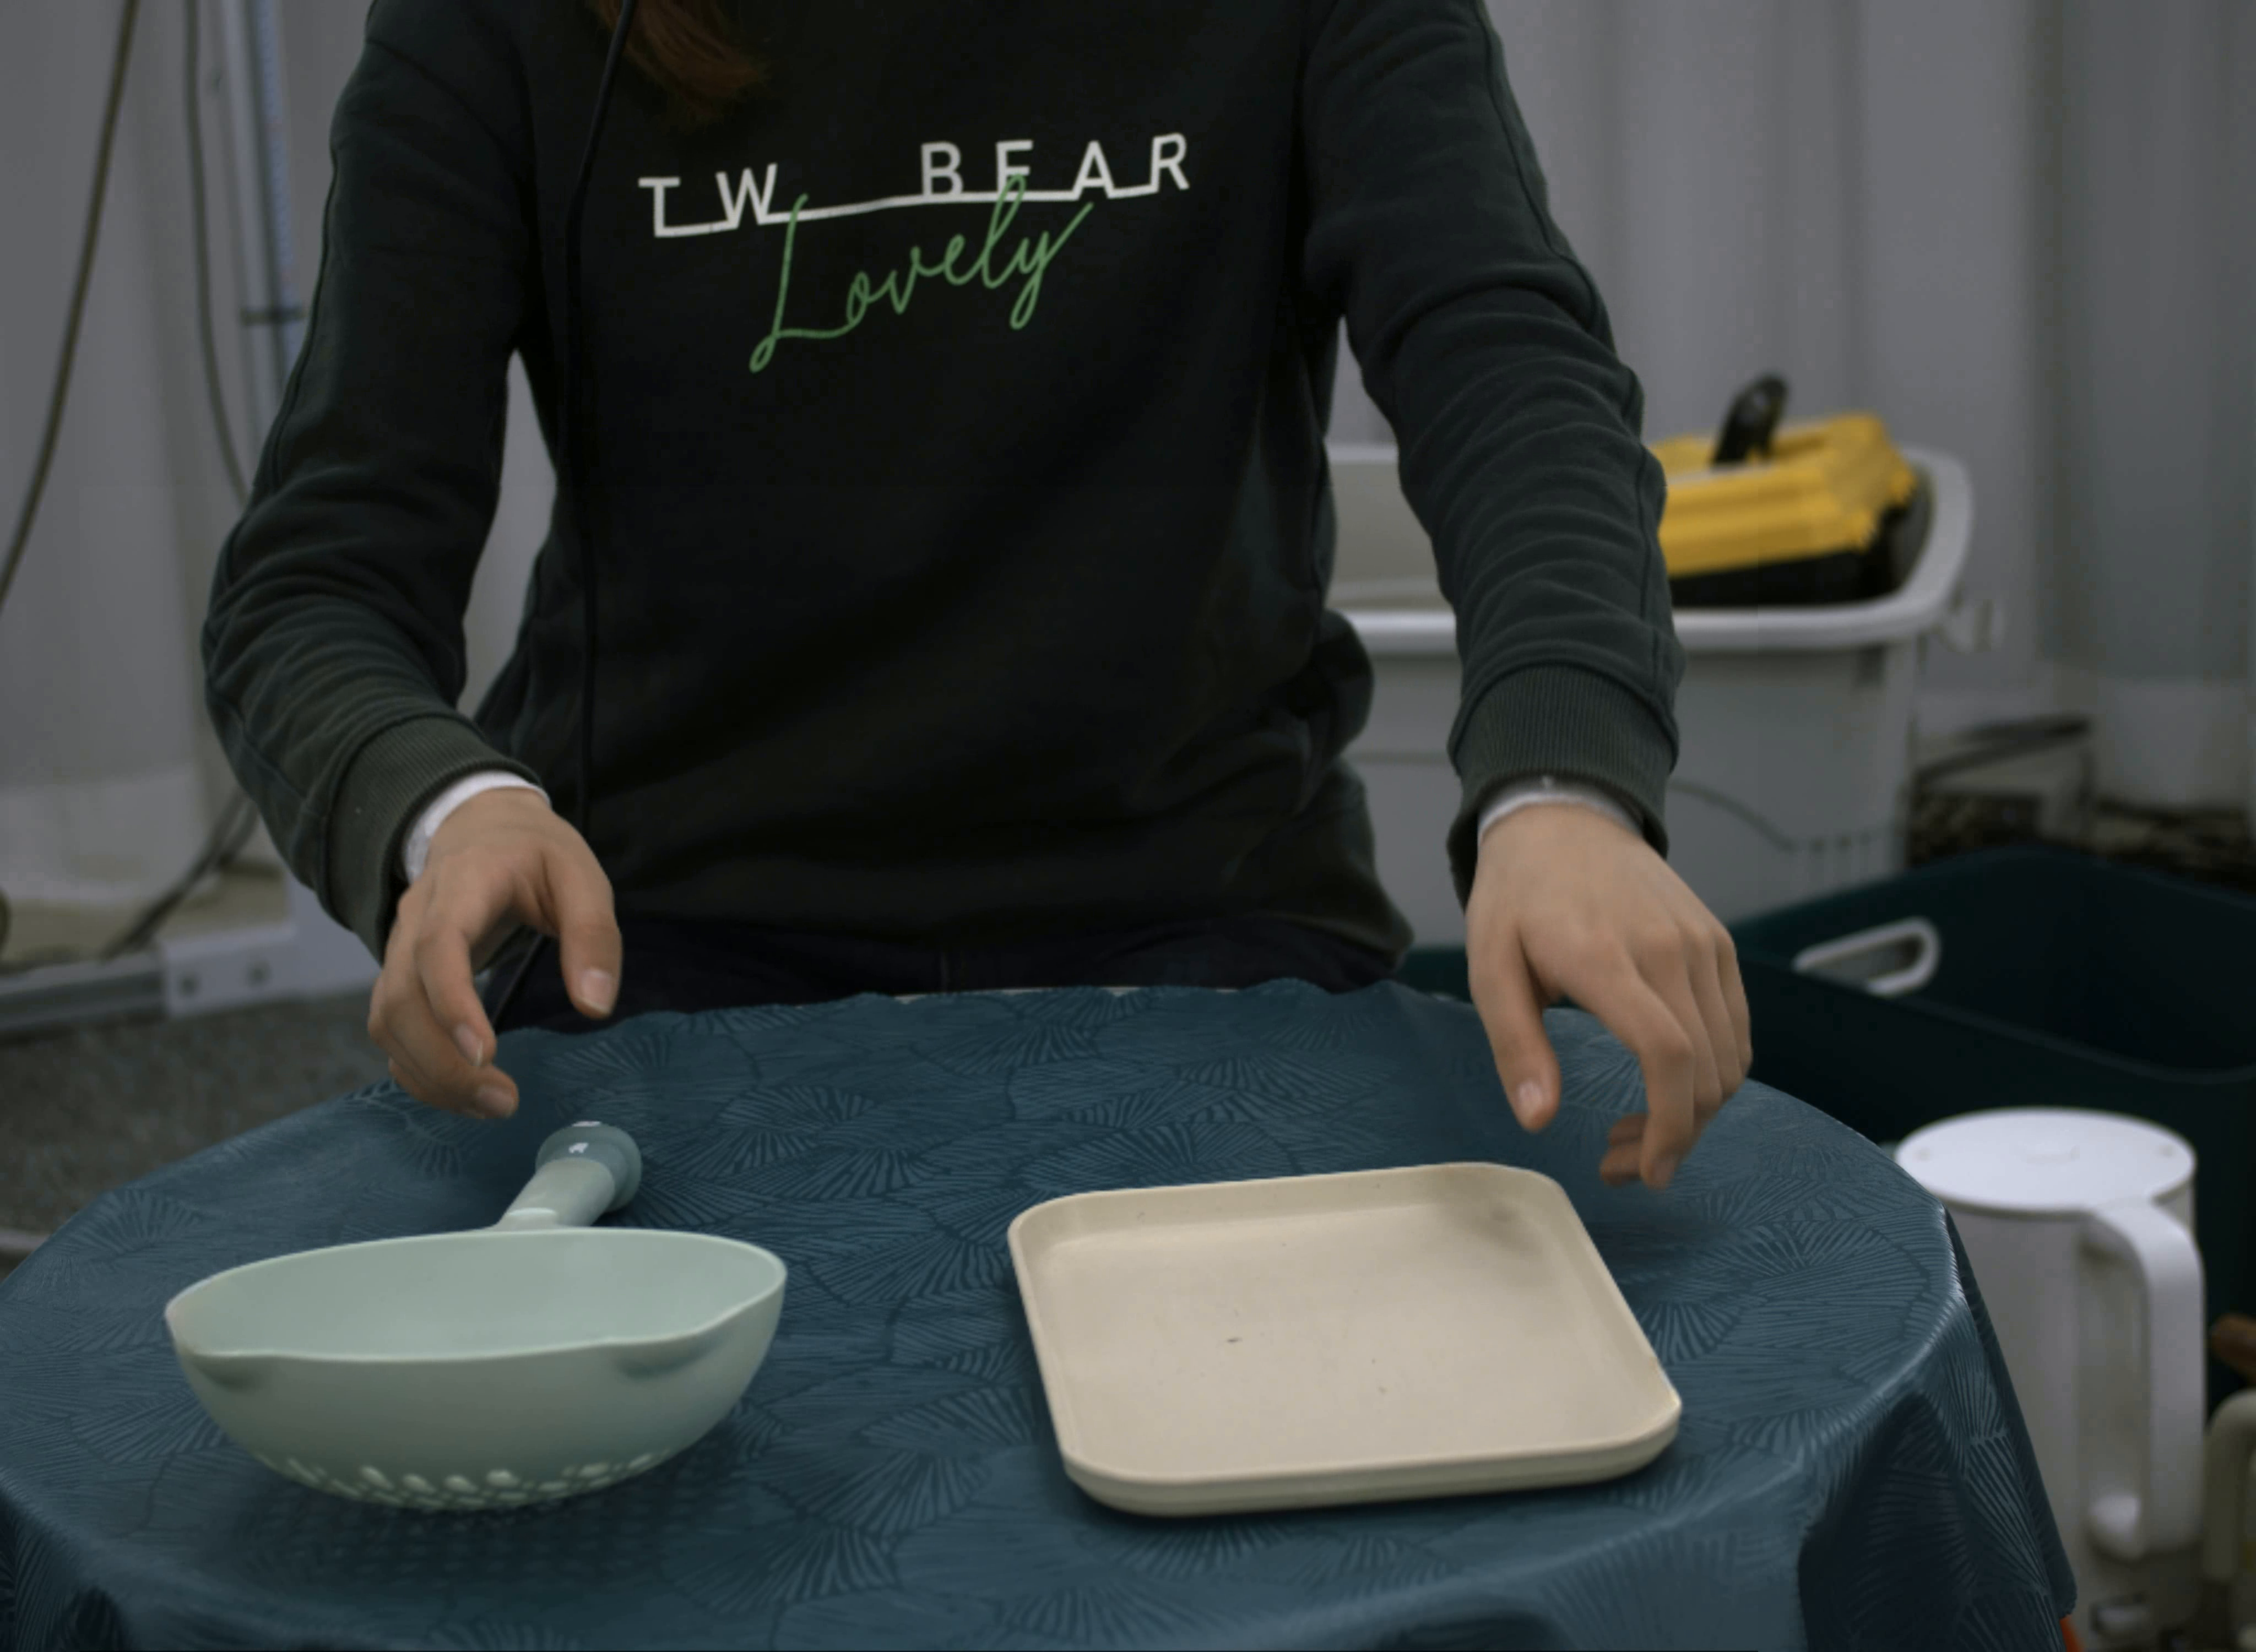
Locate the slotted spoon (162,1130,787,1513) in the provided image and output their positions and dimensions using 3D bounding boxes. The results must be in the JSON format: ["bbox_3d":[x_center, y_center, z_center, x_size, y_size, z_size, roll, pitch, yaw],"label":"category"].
[{"bbox_3d":[-0.172,0.127,1.581,0.169,0.075,0.361,-1,14,2],"label":"slotted spoon"}]

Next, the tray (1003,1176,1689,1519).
[{"bbox_3d":[0.057,0.147,1.553,0.170,0.017,0.241,-4,14,-5],"label":"tray"}]
